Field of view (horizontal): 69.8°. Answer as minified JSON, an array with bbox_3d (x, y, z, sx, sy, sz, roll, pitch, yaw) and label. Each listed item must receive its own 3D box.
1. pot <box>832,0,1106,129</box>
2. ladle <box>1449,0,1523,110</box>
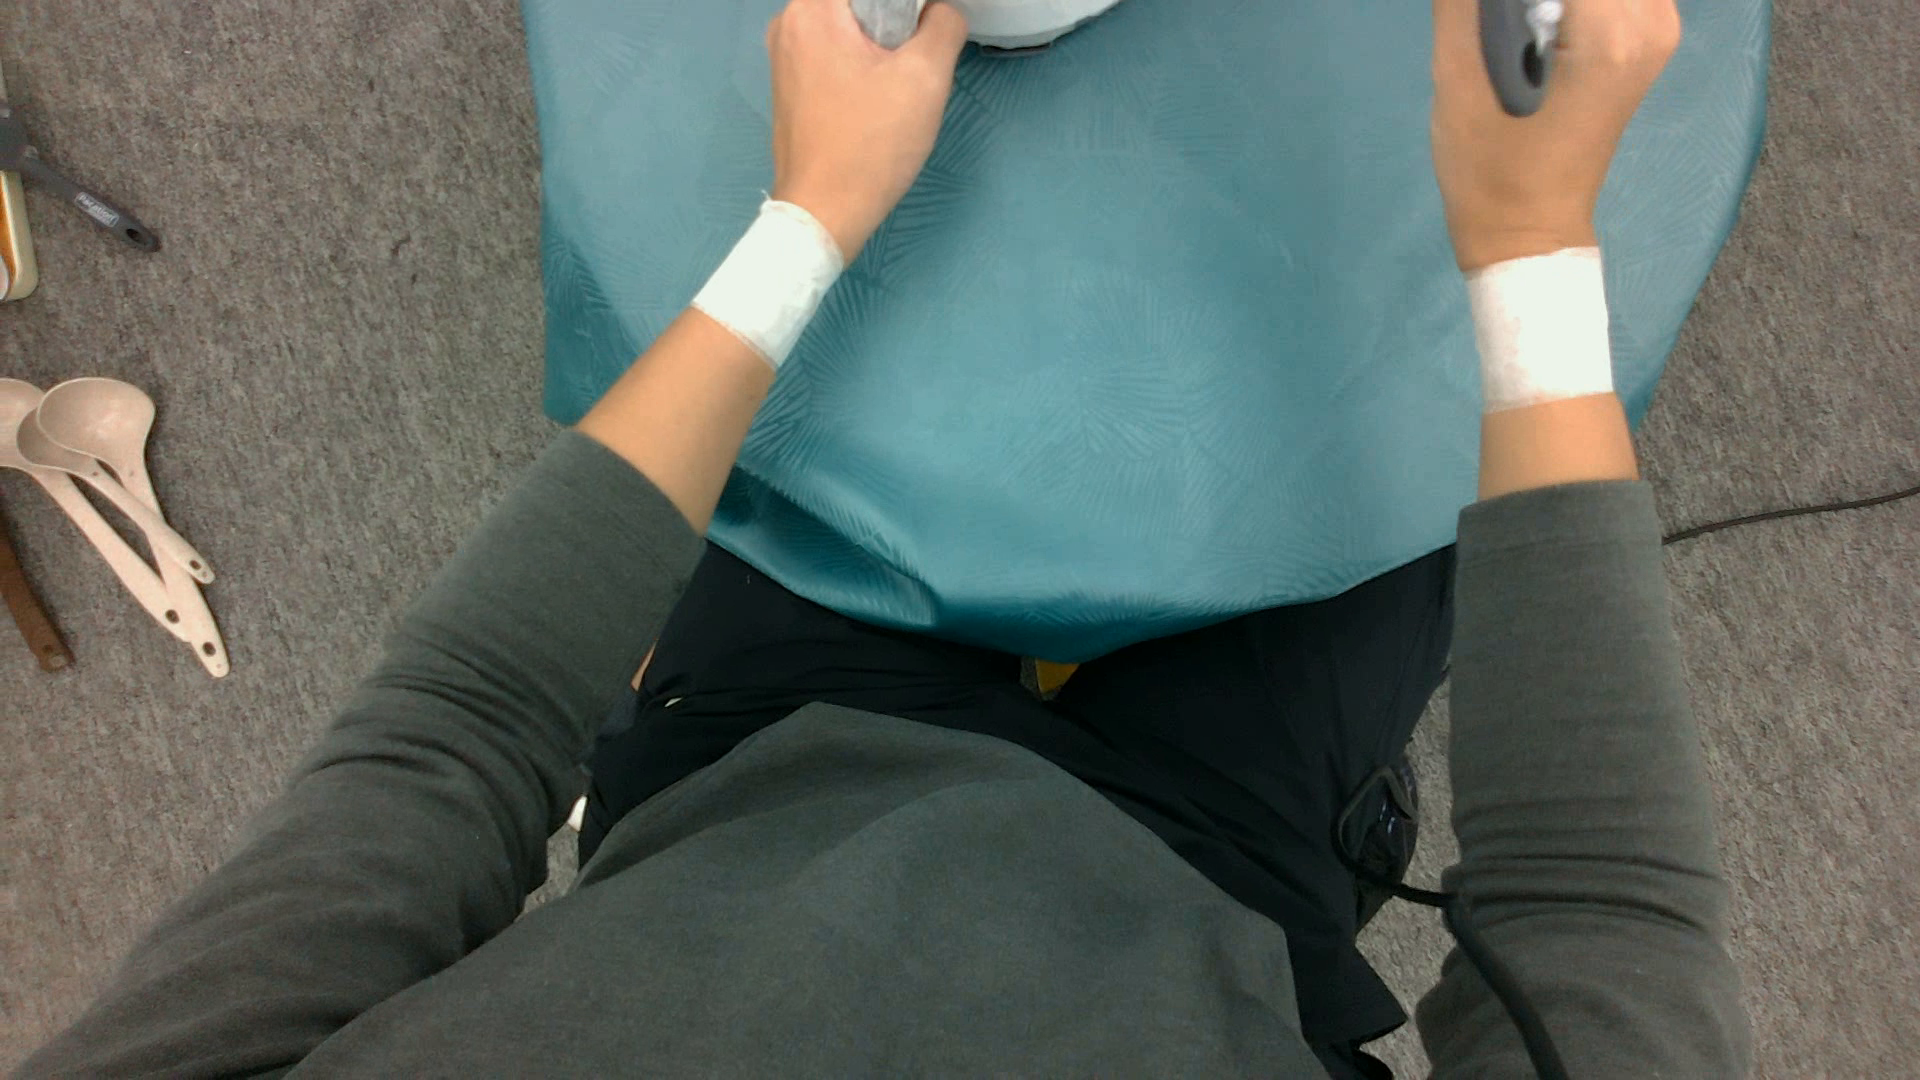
[{"bbox_3d":[0.007,-0.297,0.596,0.179,0.136,0.233,25,90,0],"label":"pot"},{"bbox_3d":[0.208,-0.282,0.505,0.086,0.063,0.315,19,59,-9],"label":"ladle"}]
